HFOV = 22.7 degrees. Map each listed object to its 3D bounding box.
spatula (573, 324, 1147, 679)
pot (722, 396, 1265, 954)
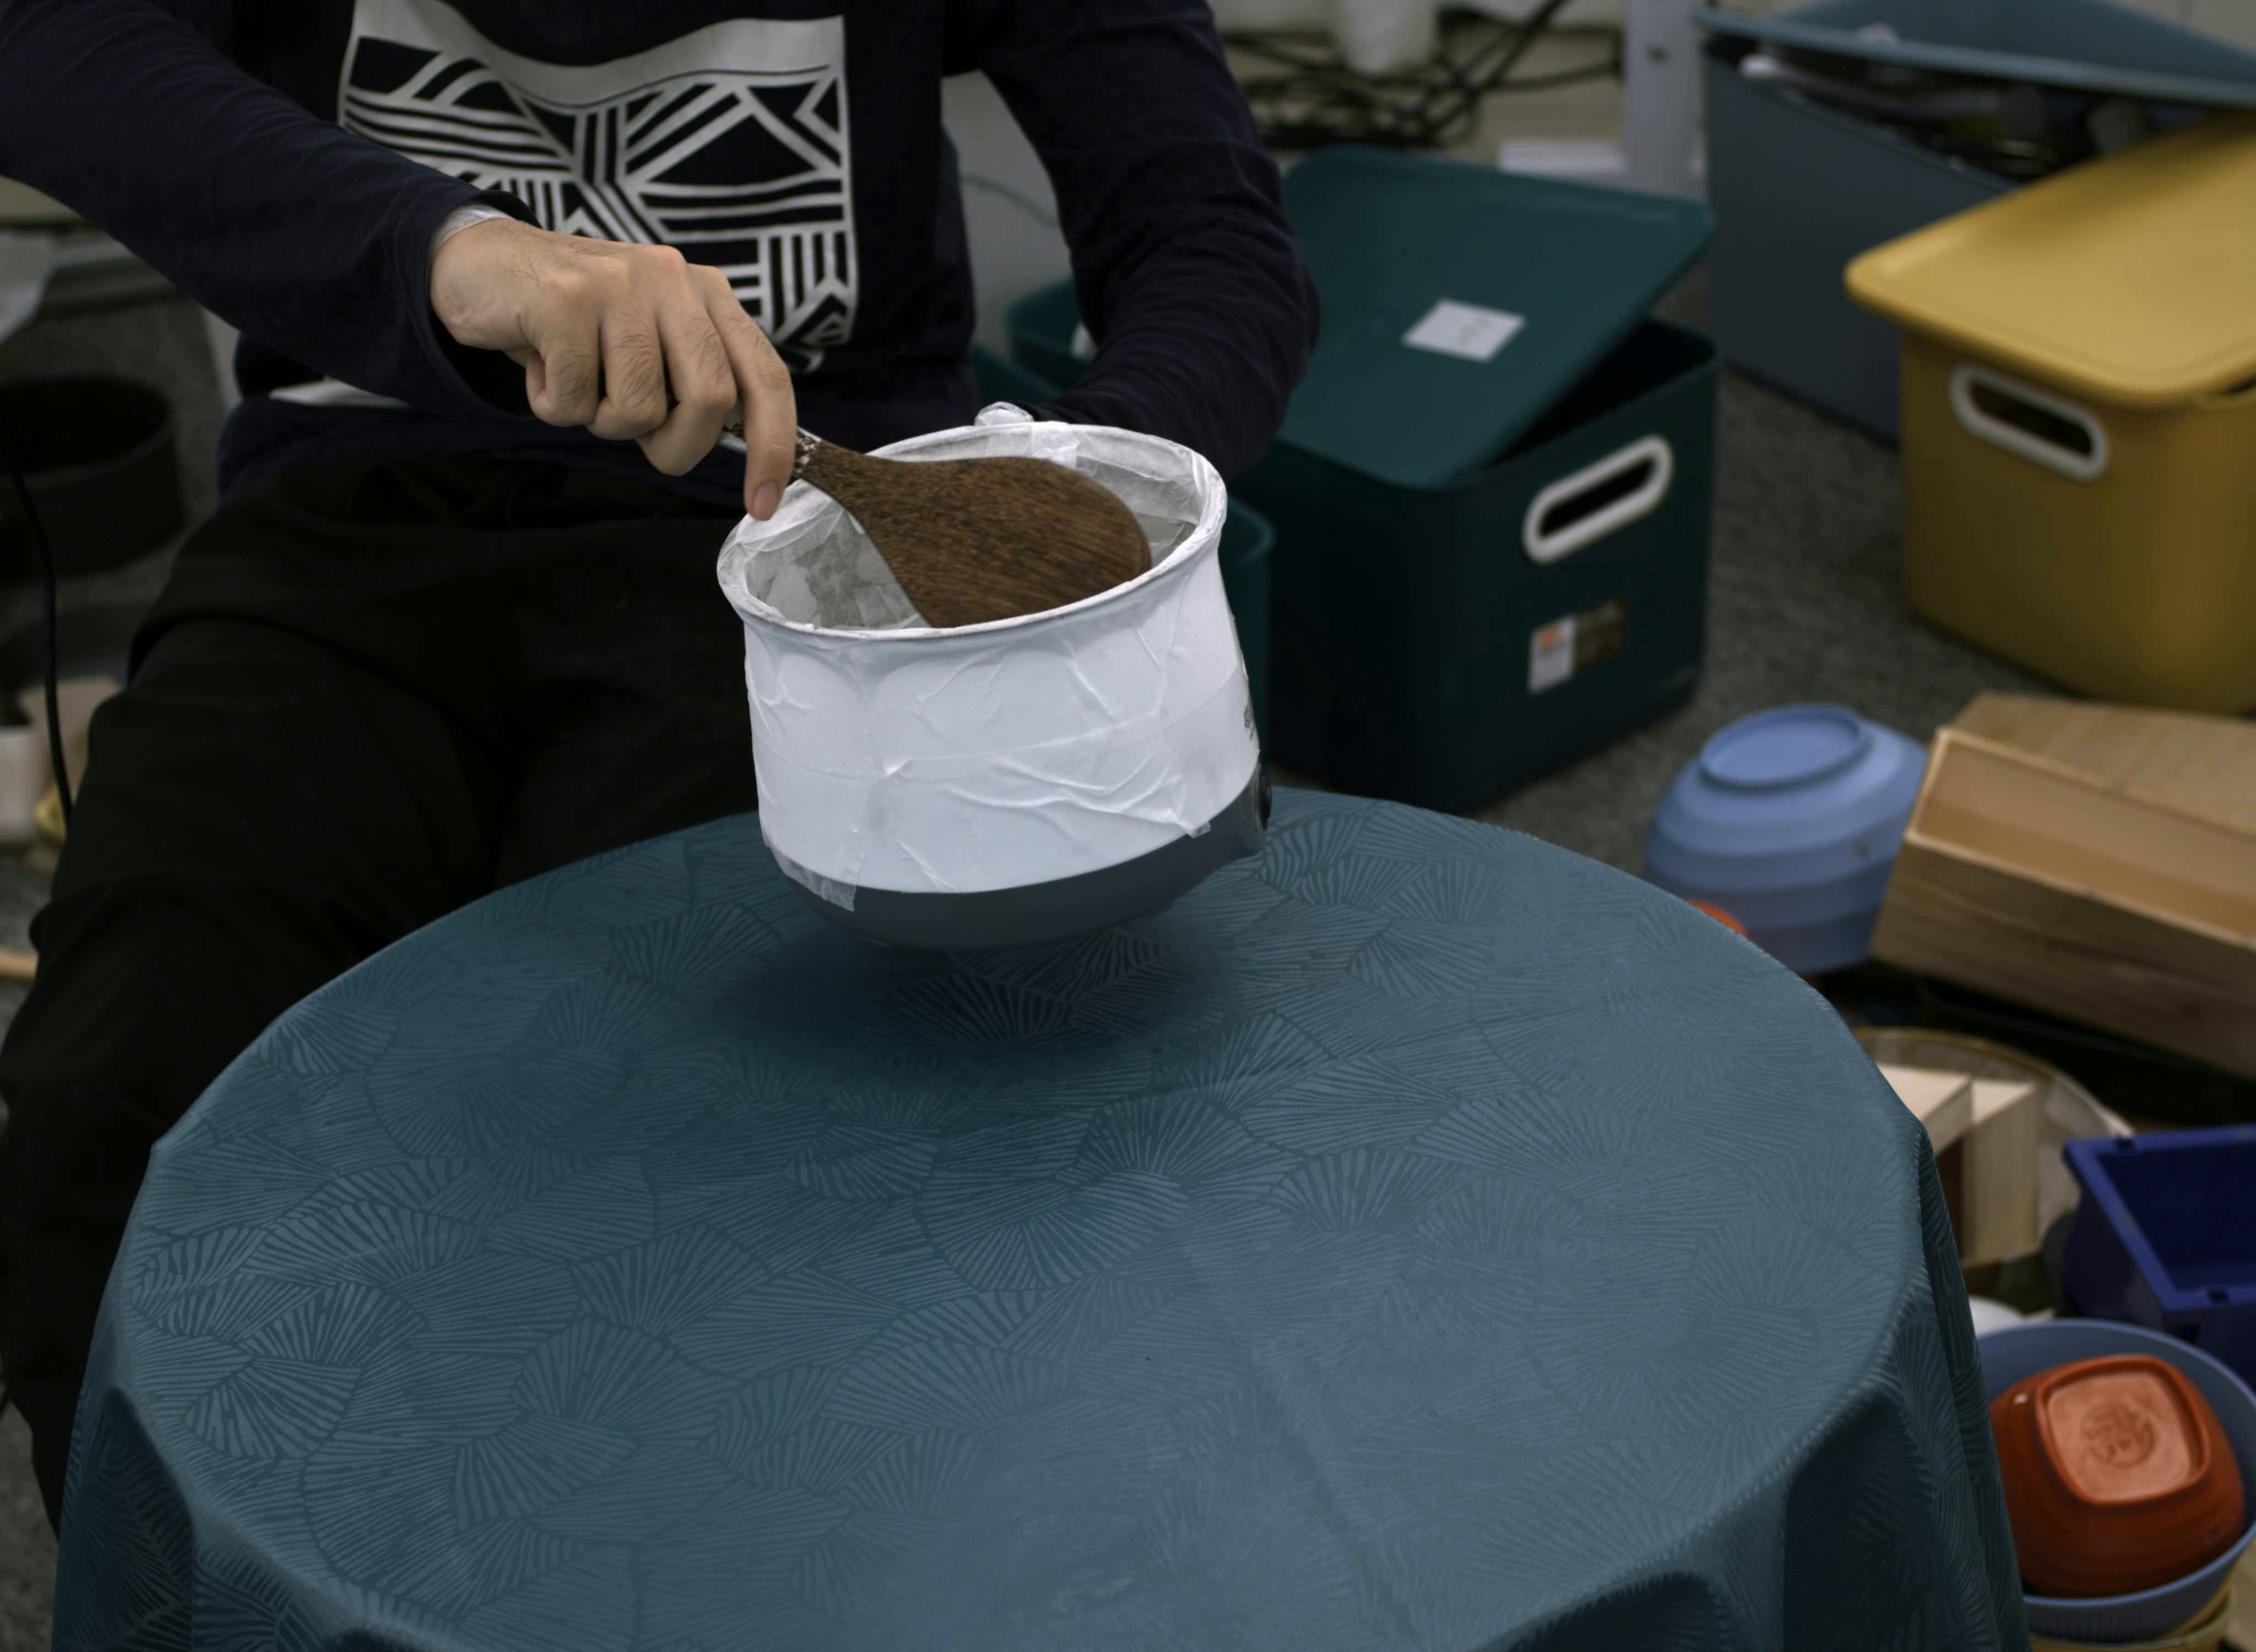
[{"bbox_3d":[-0.091,-0.119,1.897,0.215,0.072,0.009,27,-10,8],"label":"spatula"},{"bbox_3d":[-0.044,-0.060,1.977,0.178,0.135,0.237,-3,26,5],"label":"pot"}]
